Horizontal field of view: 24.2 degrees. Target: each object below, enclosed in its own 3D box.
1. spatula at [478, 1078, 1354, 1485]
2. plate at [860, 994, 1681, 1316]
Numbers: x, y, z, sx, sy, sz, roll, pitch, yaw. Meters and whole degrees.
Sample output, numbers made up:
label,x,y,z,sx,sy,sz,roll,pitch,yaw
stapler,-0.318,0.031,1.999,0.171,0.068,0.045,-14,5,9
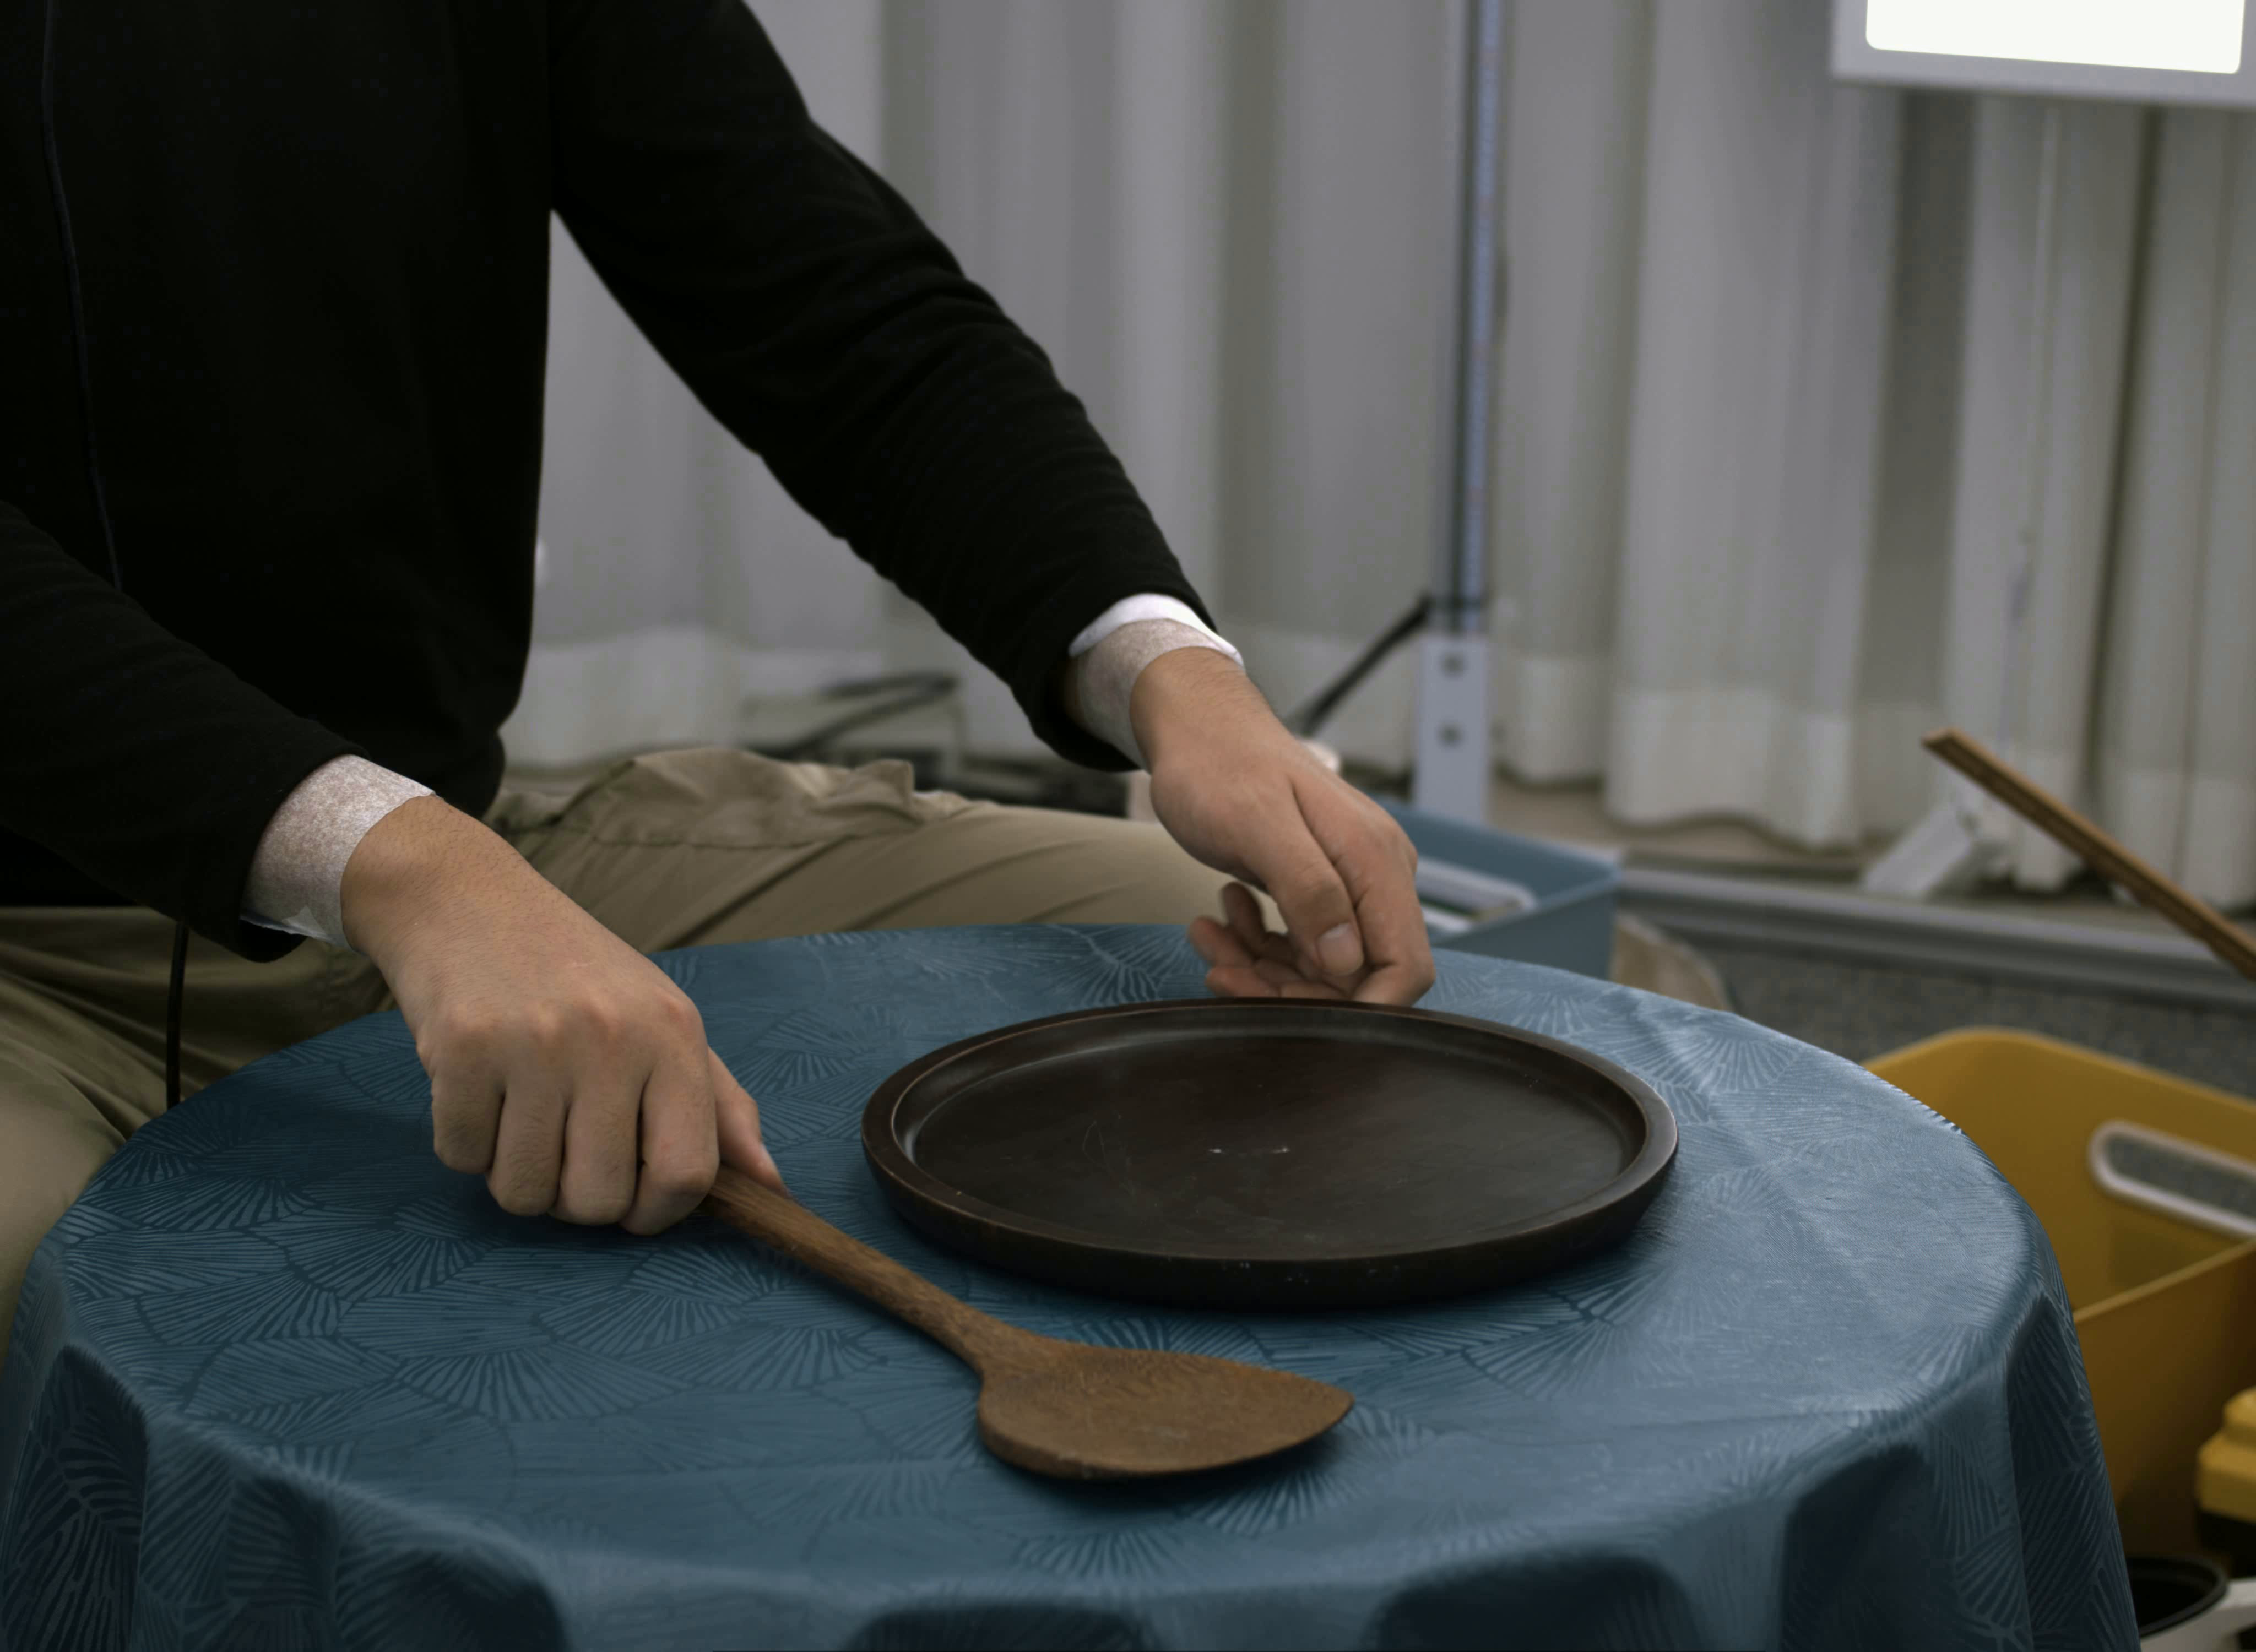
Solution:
label,x,y,z,sx,sy,sz,roll,pitch,yaw
spatula,-0.084,0.126,1.532,0.096,0.016,0.380,-11,20,-37
plate,0.044,0.099,1.623,0.254,0.029,0.253,0,17,1
